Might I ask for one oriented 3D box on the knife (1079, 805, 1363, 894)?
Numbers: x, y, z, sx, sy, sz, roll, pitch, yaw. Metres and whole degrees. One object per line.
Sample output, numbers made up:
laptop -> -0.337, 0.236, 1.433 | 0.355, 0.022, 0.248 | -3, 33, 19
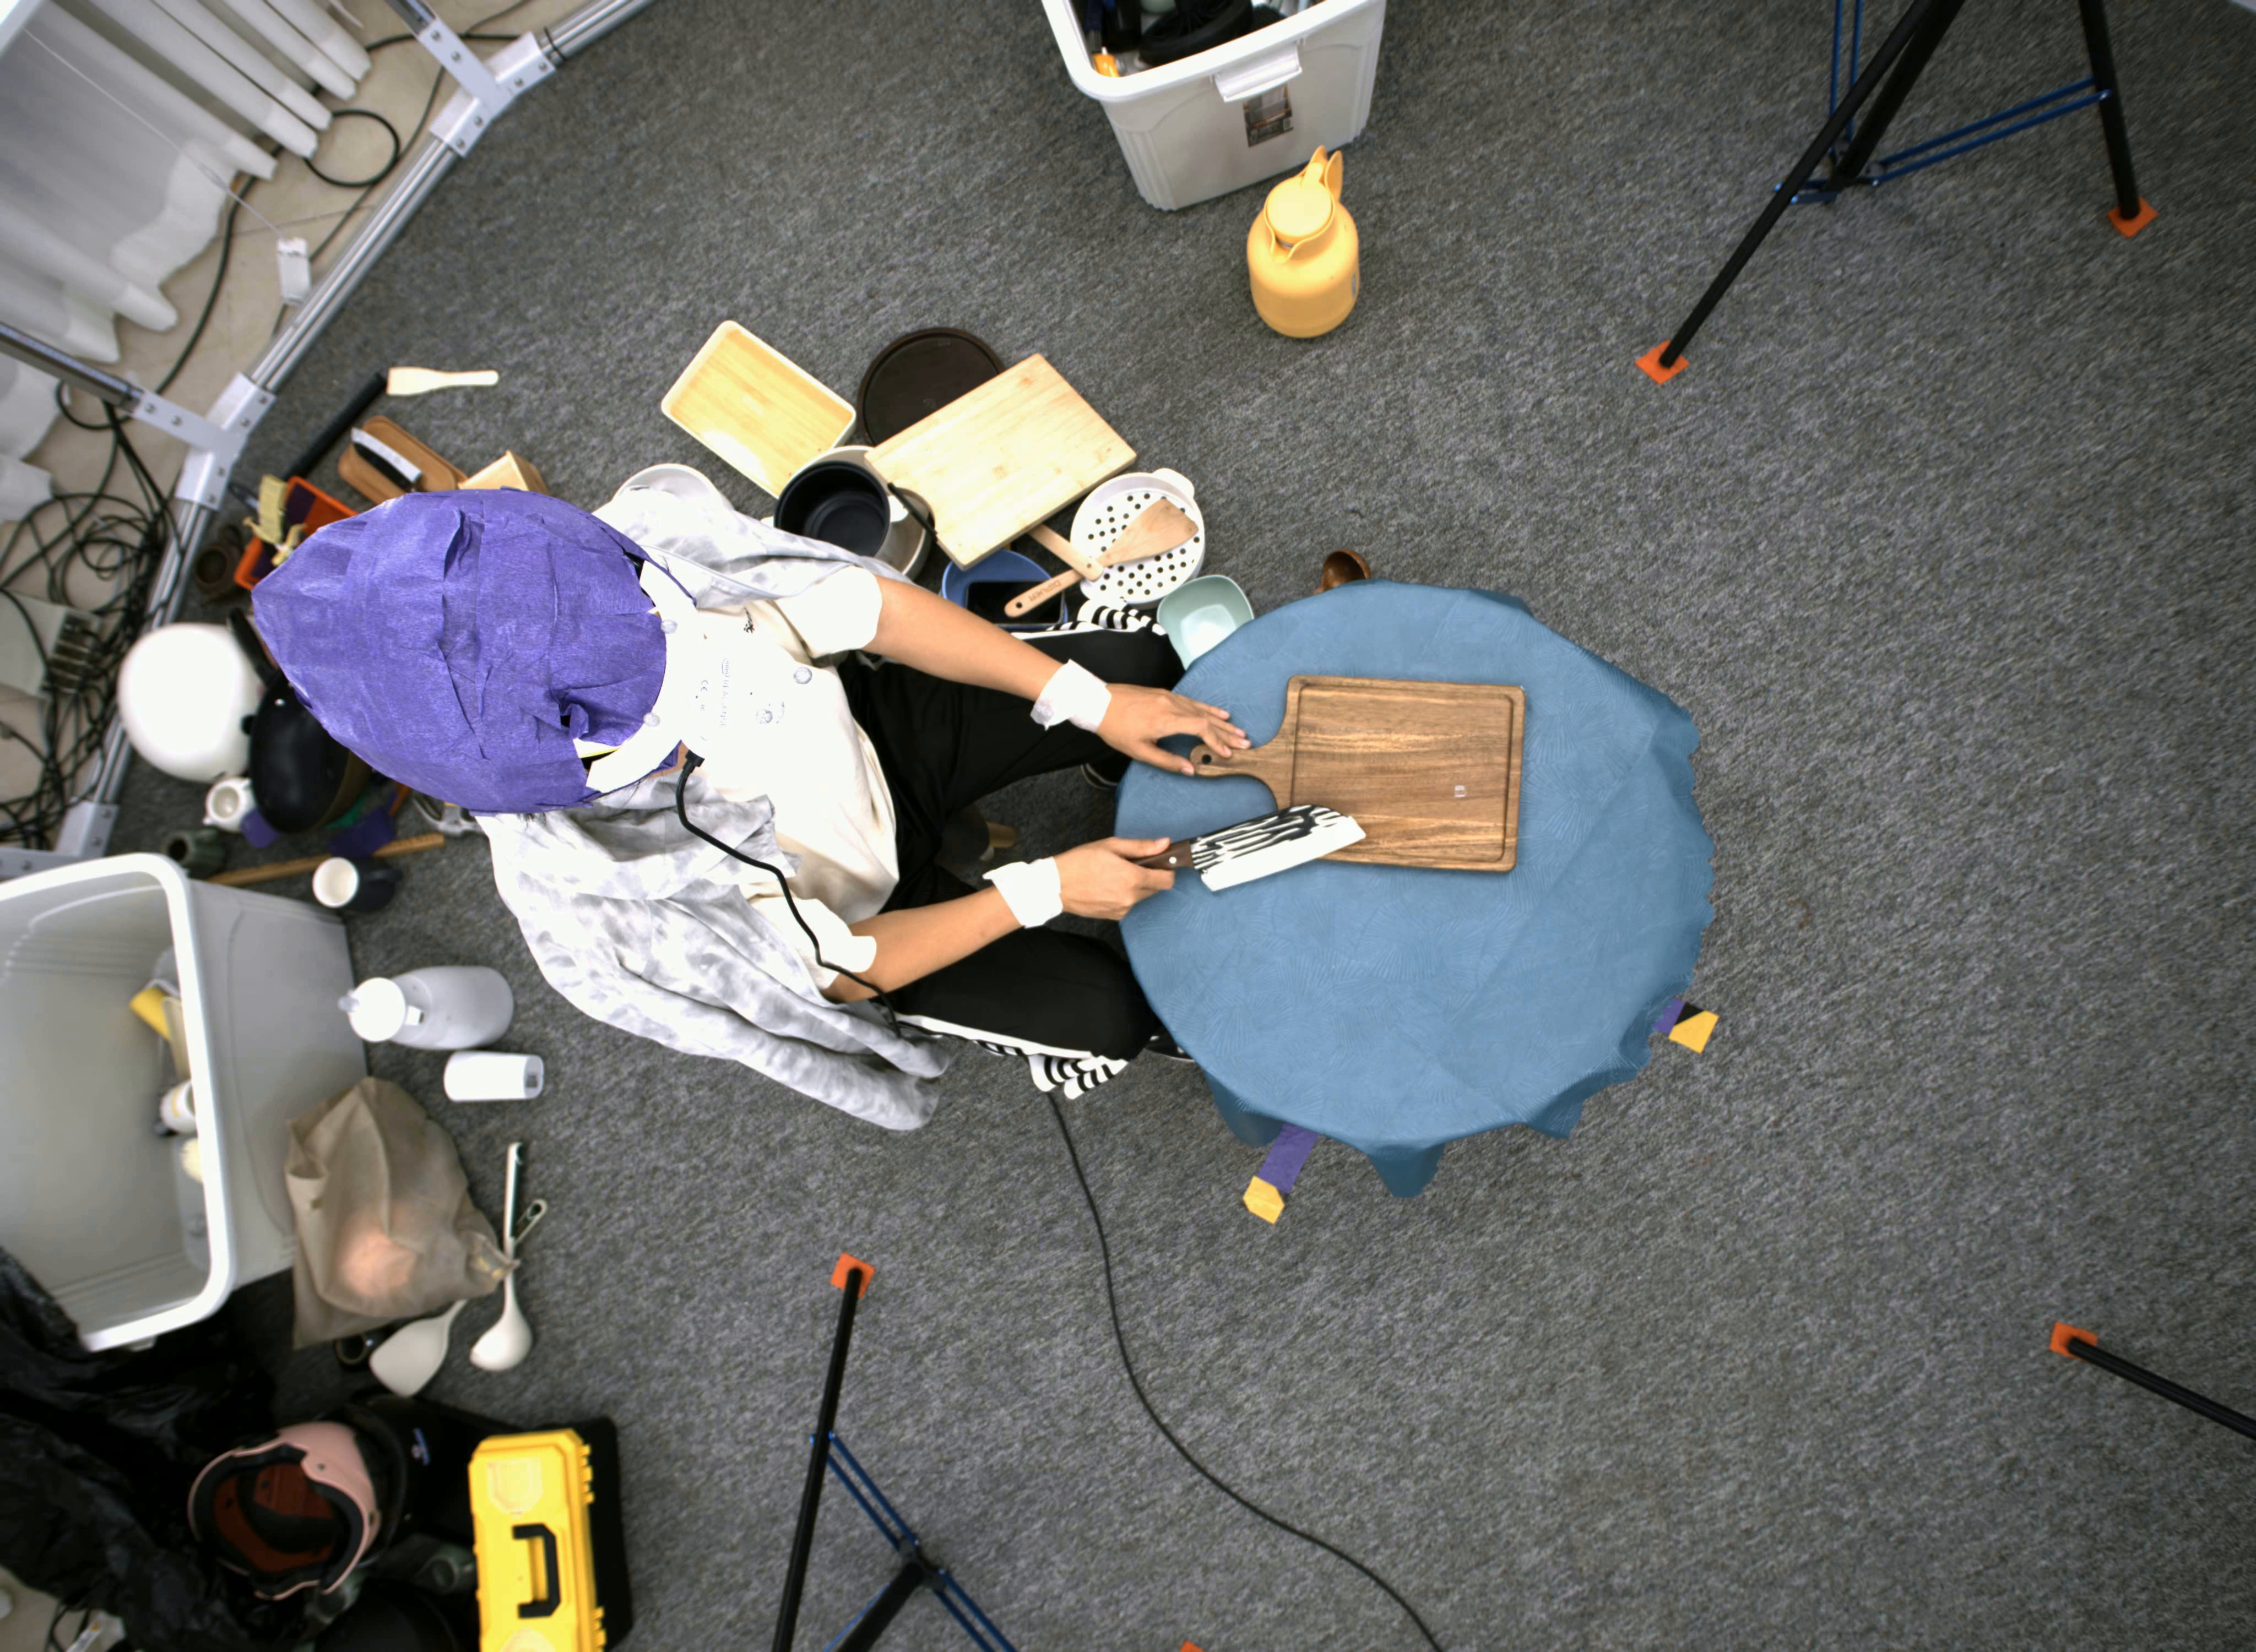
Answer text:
knife -> 0.097, 0.033, 1.460 | 0.302, 0.023, 0.069 | -17, 116, 13

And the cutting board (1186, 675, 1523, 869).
cutting board -> 0.237, -0.062, 1.461 | 0.353, 0.023, 0.200 | 3, 87, 11
